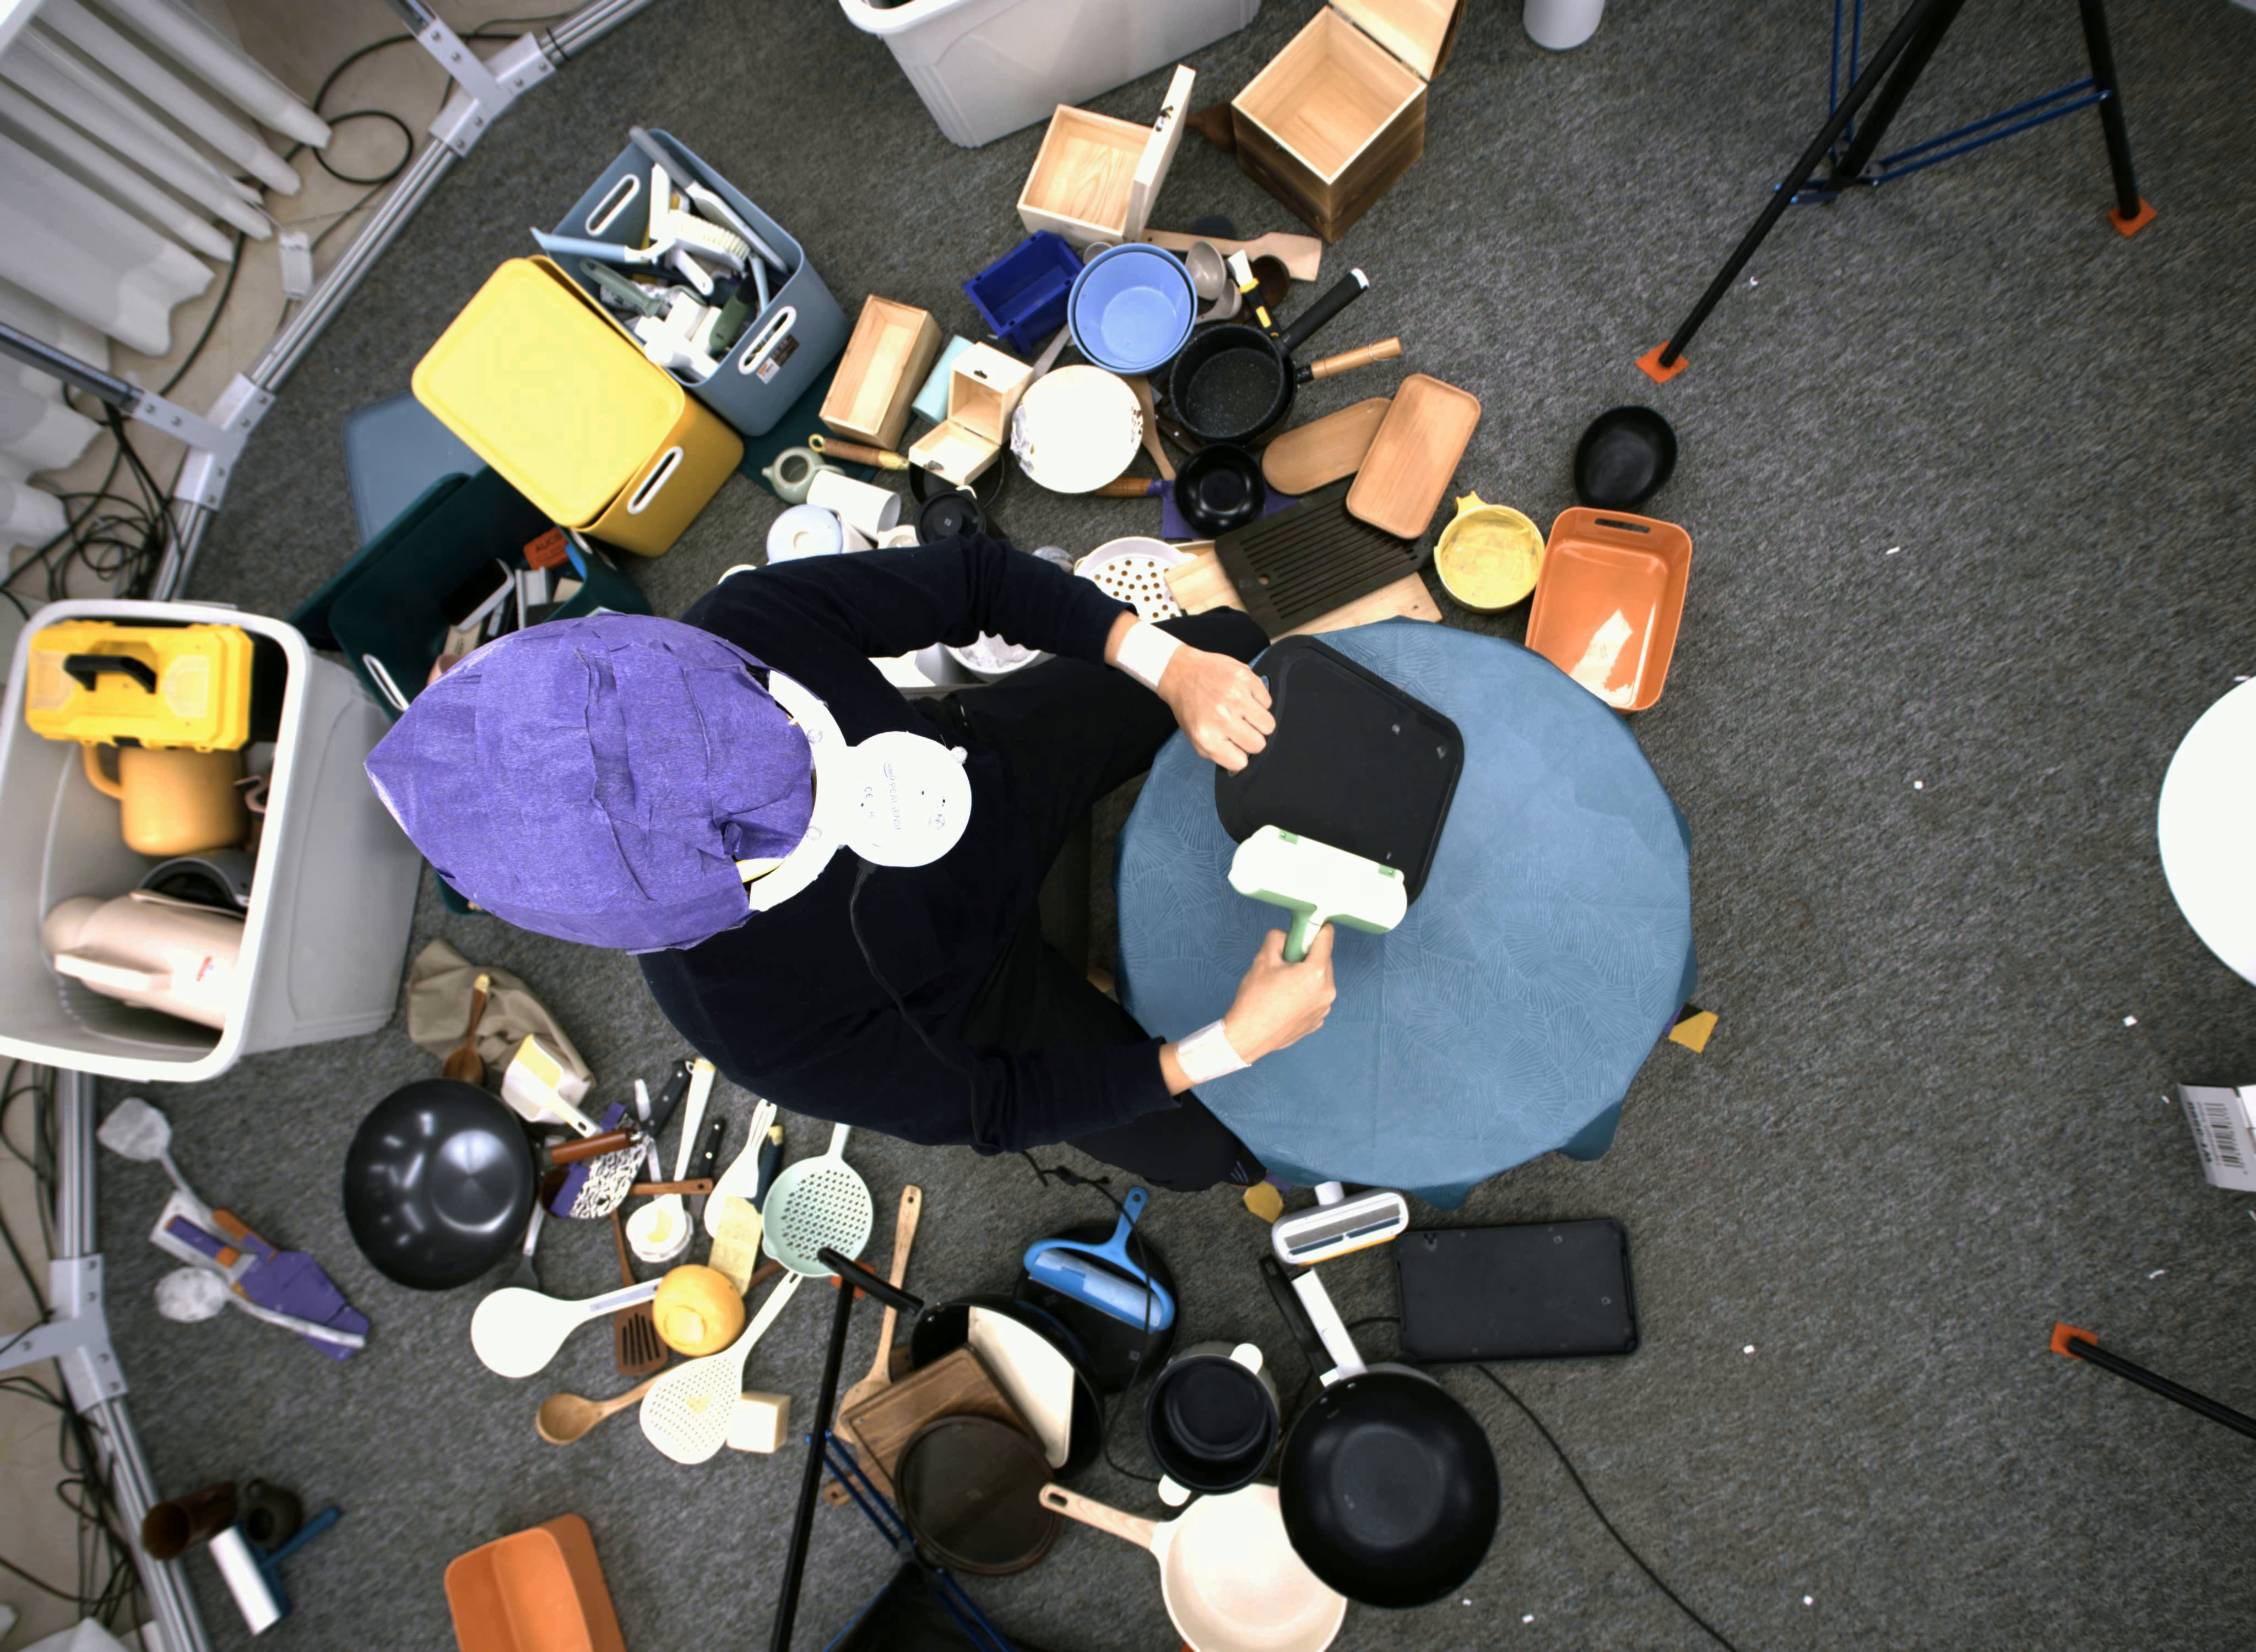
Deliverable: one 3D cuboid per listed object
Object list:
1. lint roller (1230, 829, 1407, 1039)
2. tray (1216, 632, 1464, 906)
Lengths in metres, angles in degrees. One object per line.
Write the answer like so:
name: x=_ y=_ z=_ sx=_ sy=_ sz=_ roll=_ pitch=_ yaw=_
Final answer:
lint roller: x=0.177 y=0.112 z=1.292 sx=0.082 sy=0.199 sz=0.182 roll=6 pitch=82 yaw=53
tray: x=0.213 y=-0.051 z=1.349 sx=0.010 sy=0.326 sz=0.210 roll=16 pitch=85 yaw=53
